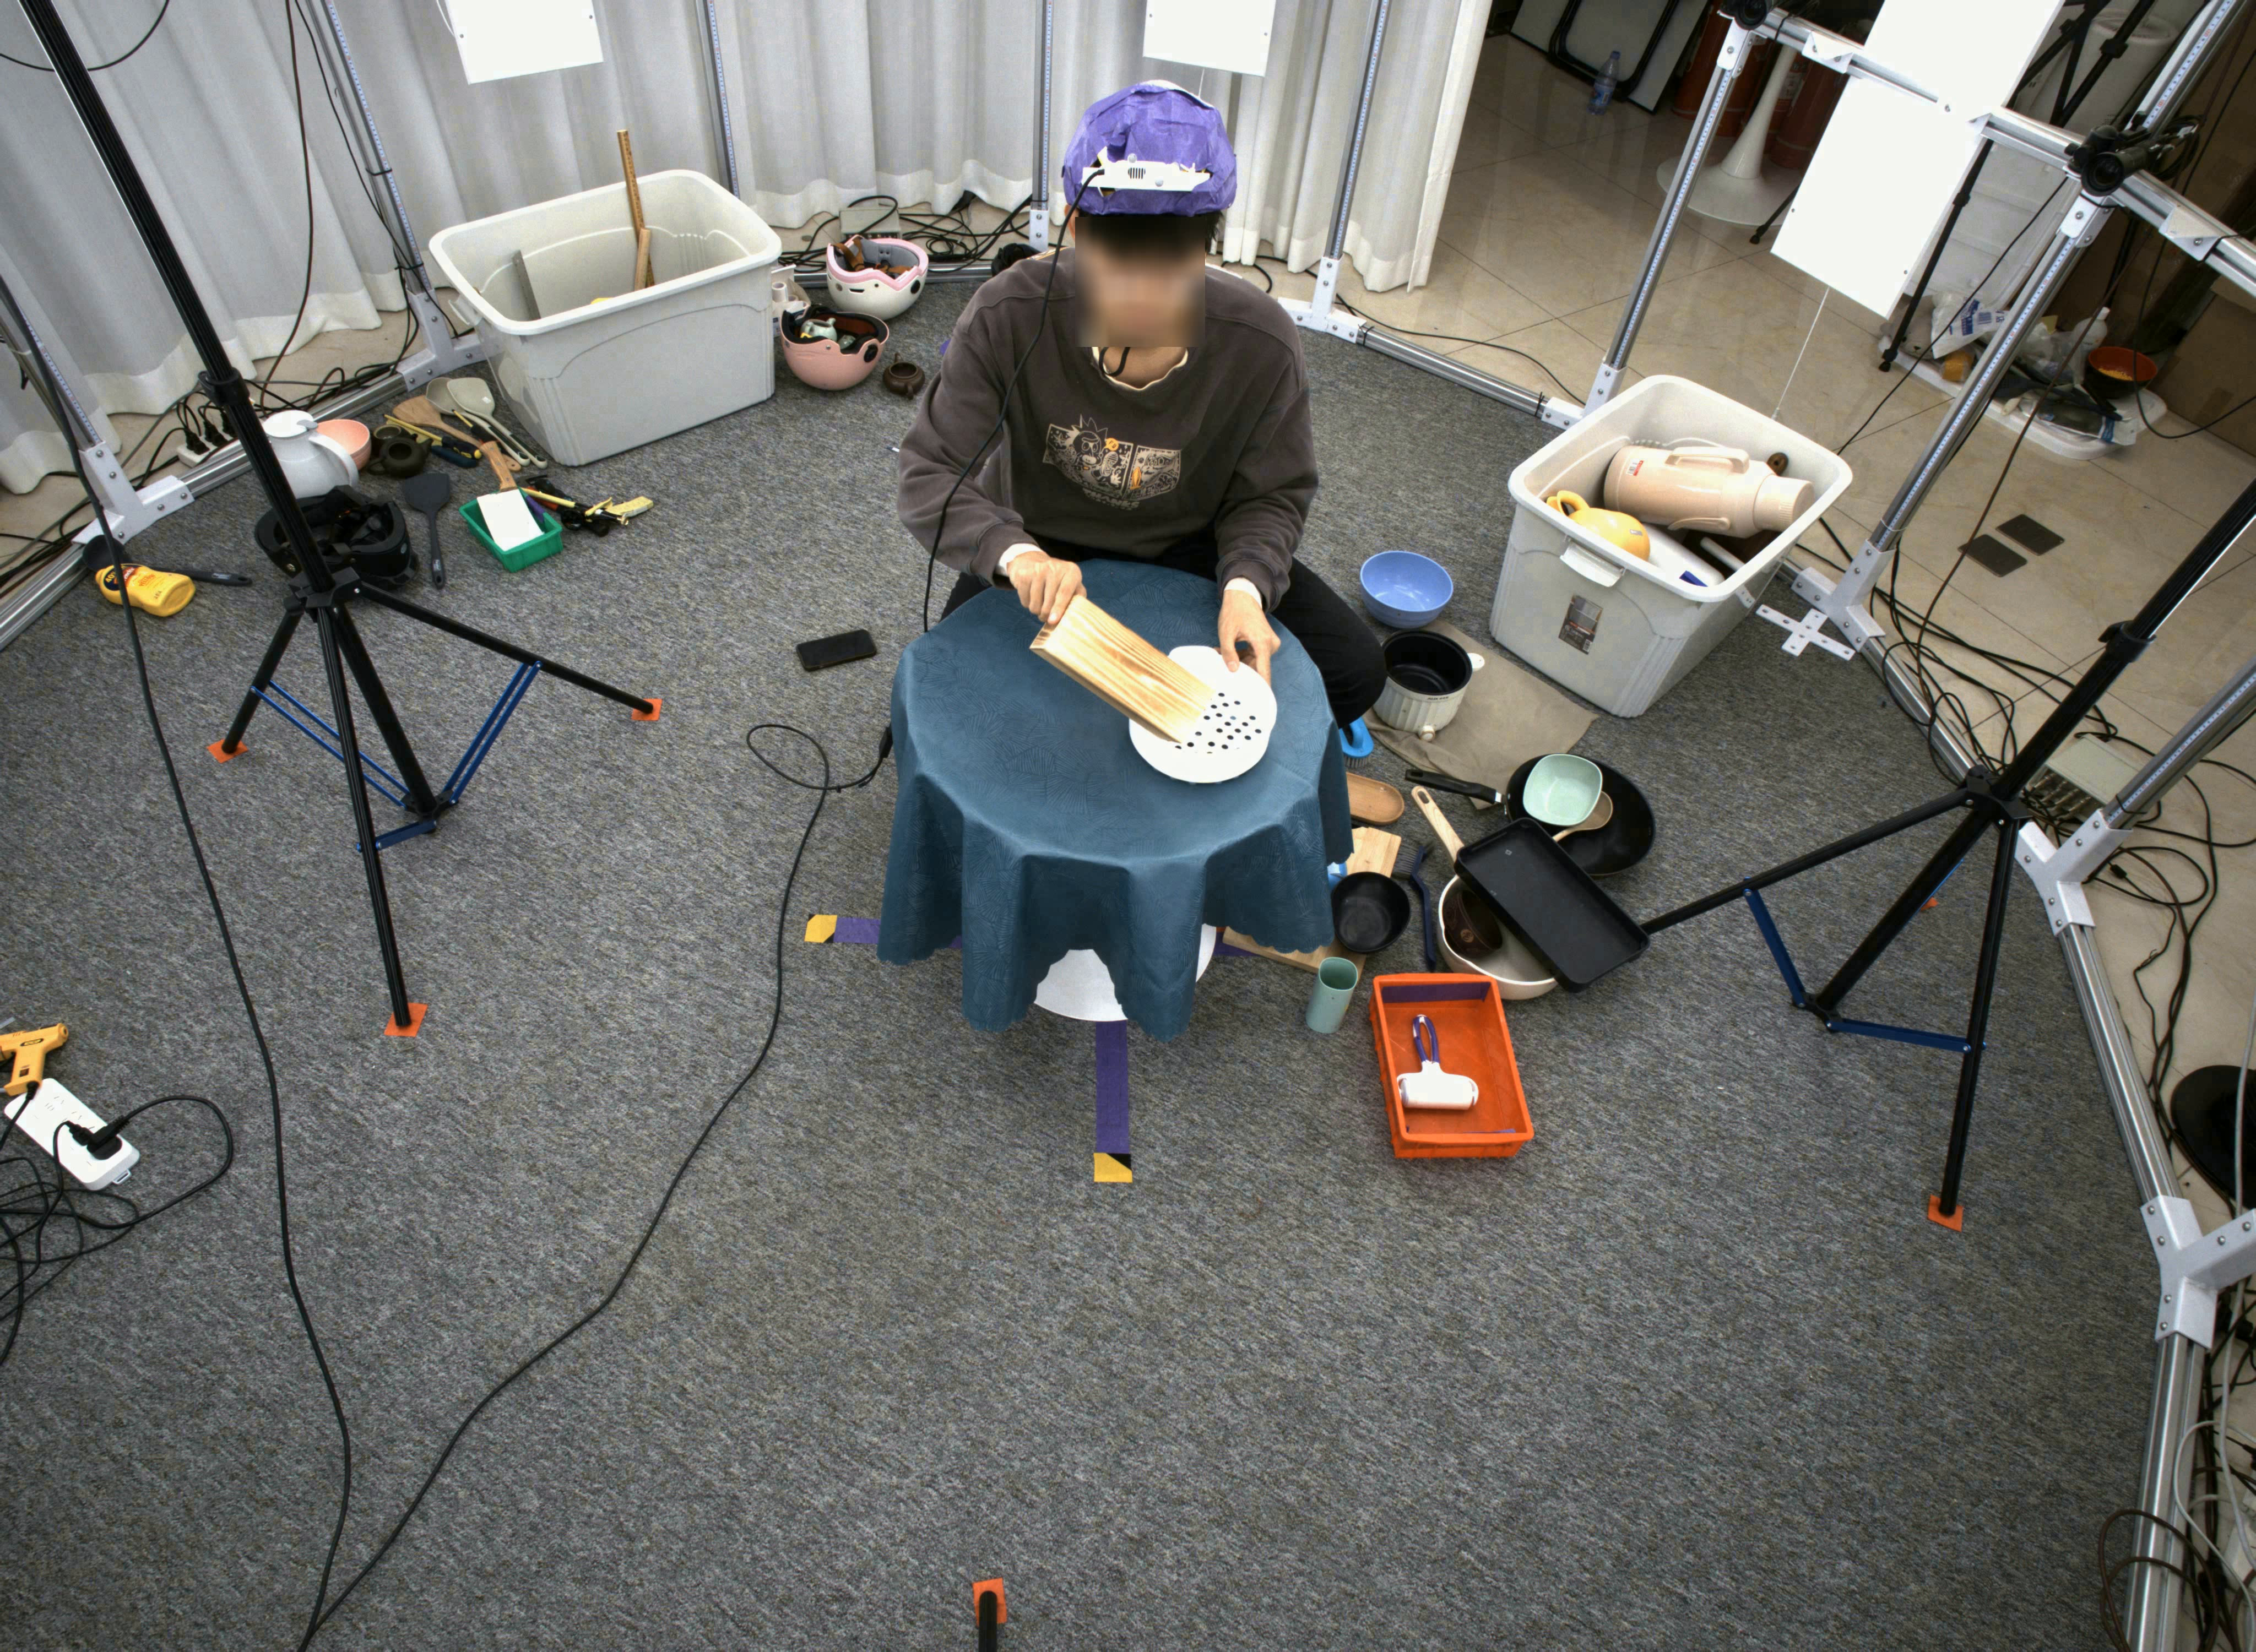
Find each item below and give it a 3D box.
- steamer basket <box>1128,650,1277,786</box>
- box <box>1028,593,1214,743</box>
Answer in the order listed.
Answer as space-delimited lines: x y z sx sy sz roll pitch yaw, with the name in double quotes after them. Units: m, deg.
0.100 -0.144 1.753 0.201 0.067 0.236 -1 48 -5 "steamer basket"
-0.011 -0.197 1.613 0.210 0.108 0.080 34 88 -14 "box"
